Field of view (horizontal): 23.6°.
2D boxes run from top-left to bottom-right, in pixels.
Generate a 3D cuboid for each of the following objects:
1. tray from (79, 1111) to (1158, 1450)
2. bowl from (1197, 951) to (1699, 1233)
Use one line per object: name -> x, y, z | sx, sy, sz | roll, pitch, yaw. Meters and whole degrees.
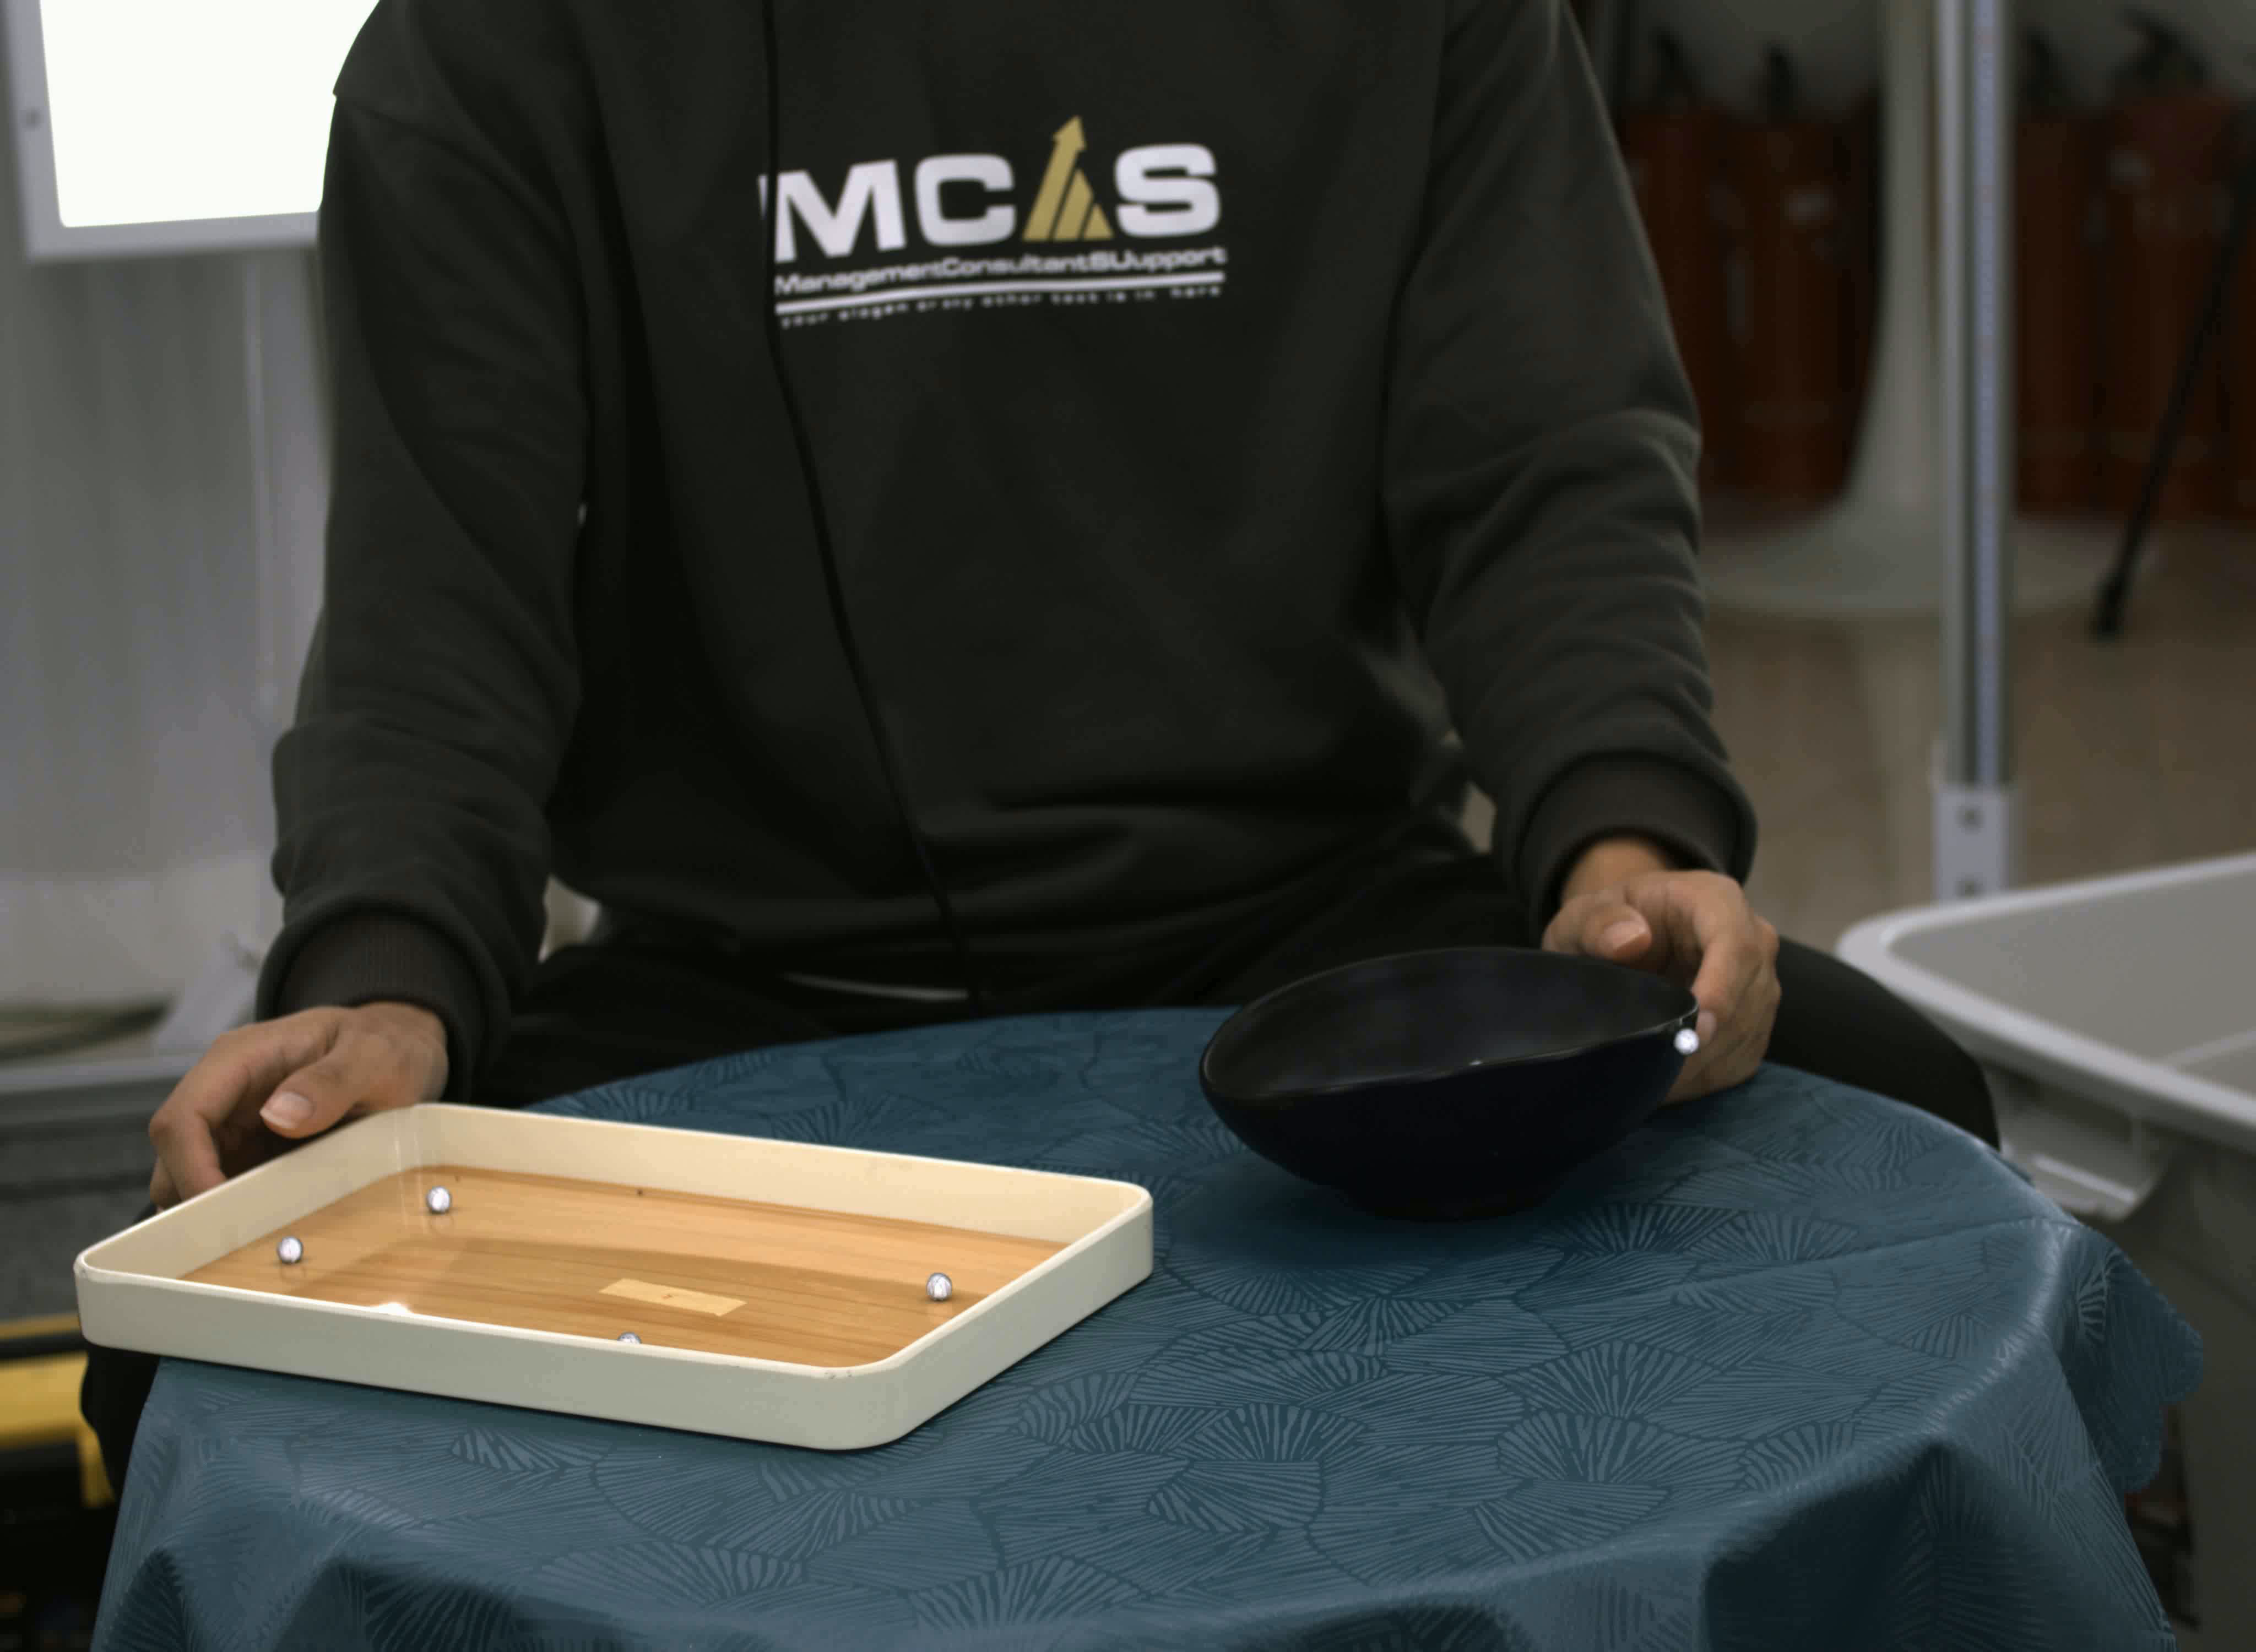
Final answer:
tray -> -0.157, 0.139, 1.690 | 0.301, 0.028, 0.189 | 4, 15, 29
bowl -> 0.107, 0.091, 1.746 | 0.167, 0.067, 0.138 | -10, 13, -19
